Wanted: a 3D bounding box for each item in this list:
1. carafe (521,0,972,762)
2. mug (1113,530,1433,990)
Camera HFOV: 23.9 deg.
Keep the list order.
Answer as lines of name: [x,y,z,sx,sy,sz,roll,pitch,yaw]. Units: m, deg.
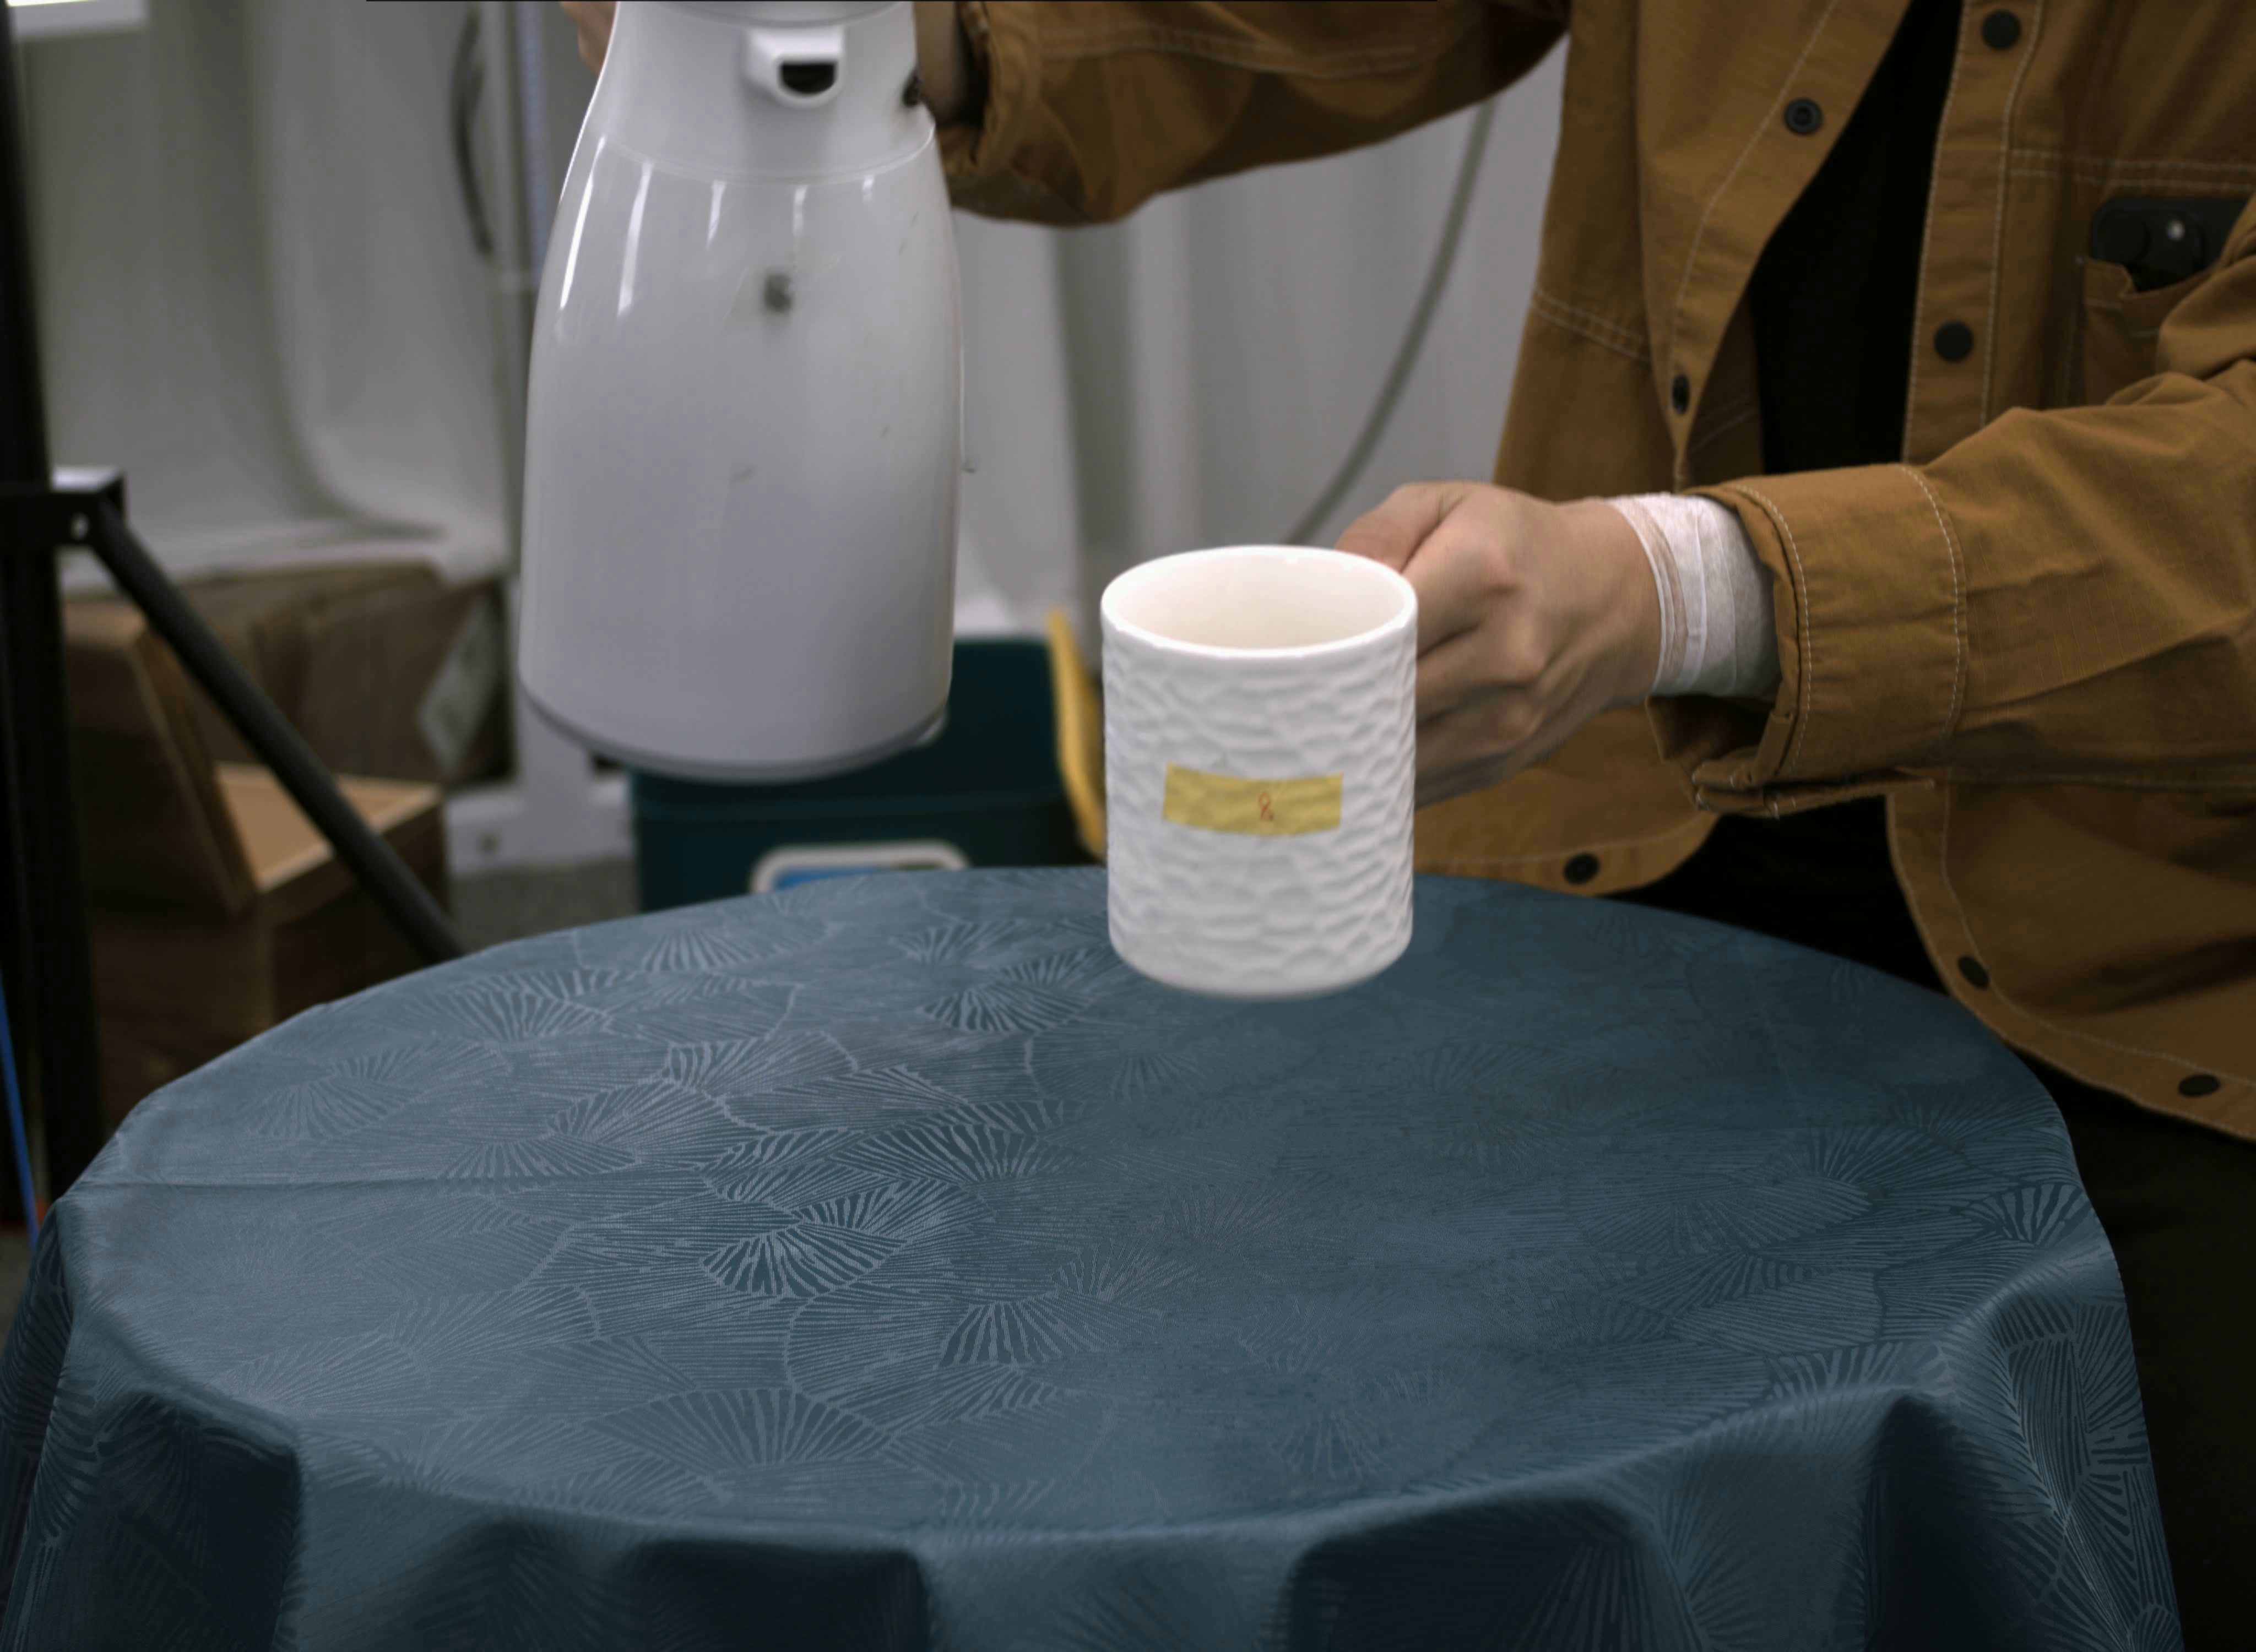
carafe: [-0.115,-0.167,1.582,0.130,0.248,0.171,-4,30,-16]
mug: [0.044,-0.023,1.437,0.086,0.102,0.117,10,23,23]
